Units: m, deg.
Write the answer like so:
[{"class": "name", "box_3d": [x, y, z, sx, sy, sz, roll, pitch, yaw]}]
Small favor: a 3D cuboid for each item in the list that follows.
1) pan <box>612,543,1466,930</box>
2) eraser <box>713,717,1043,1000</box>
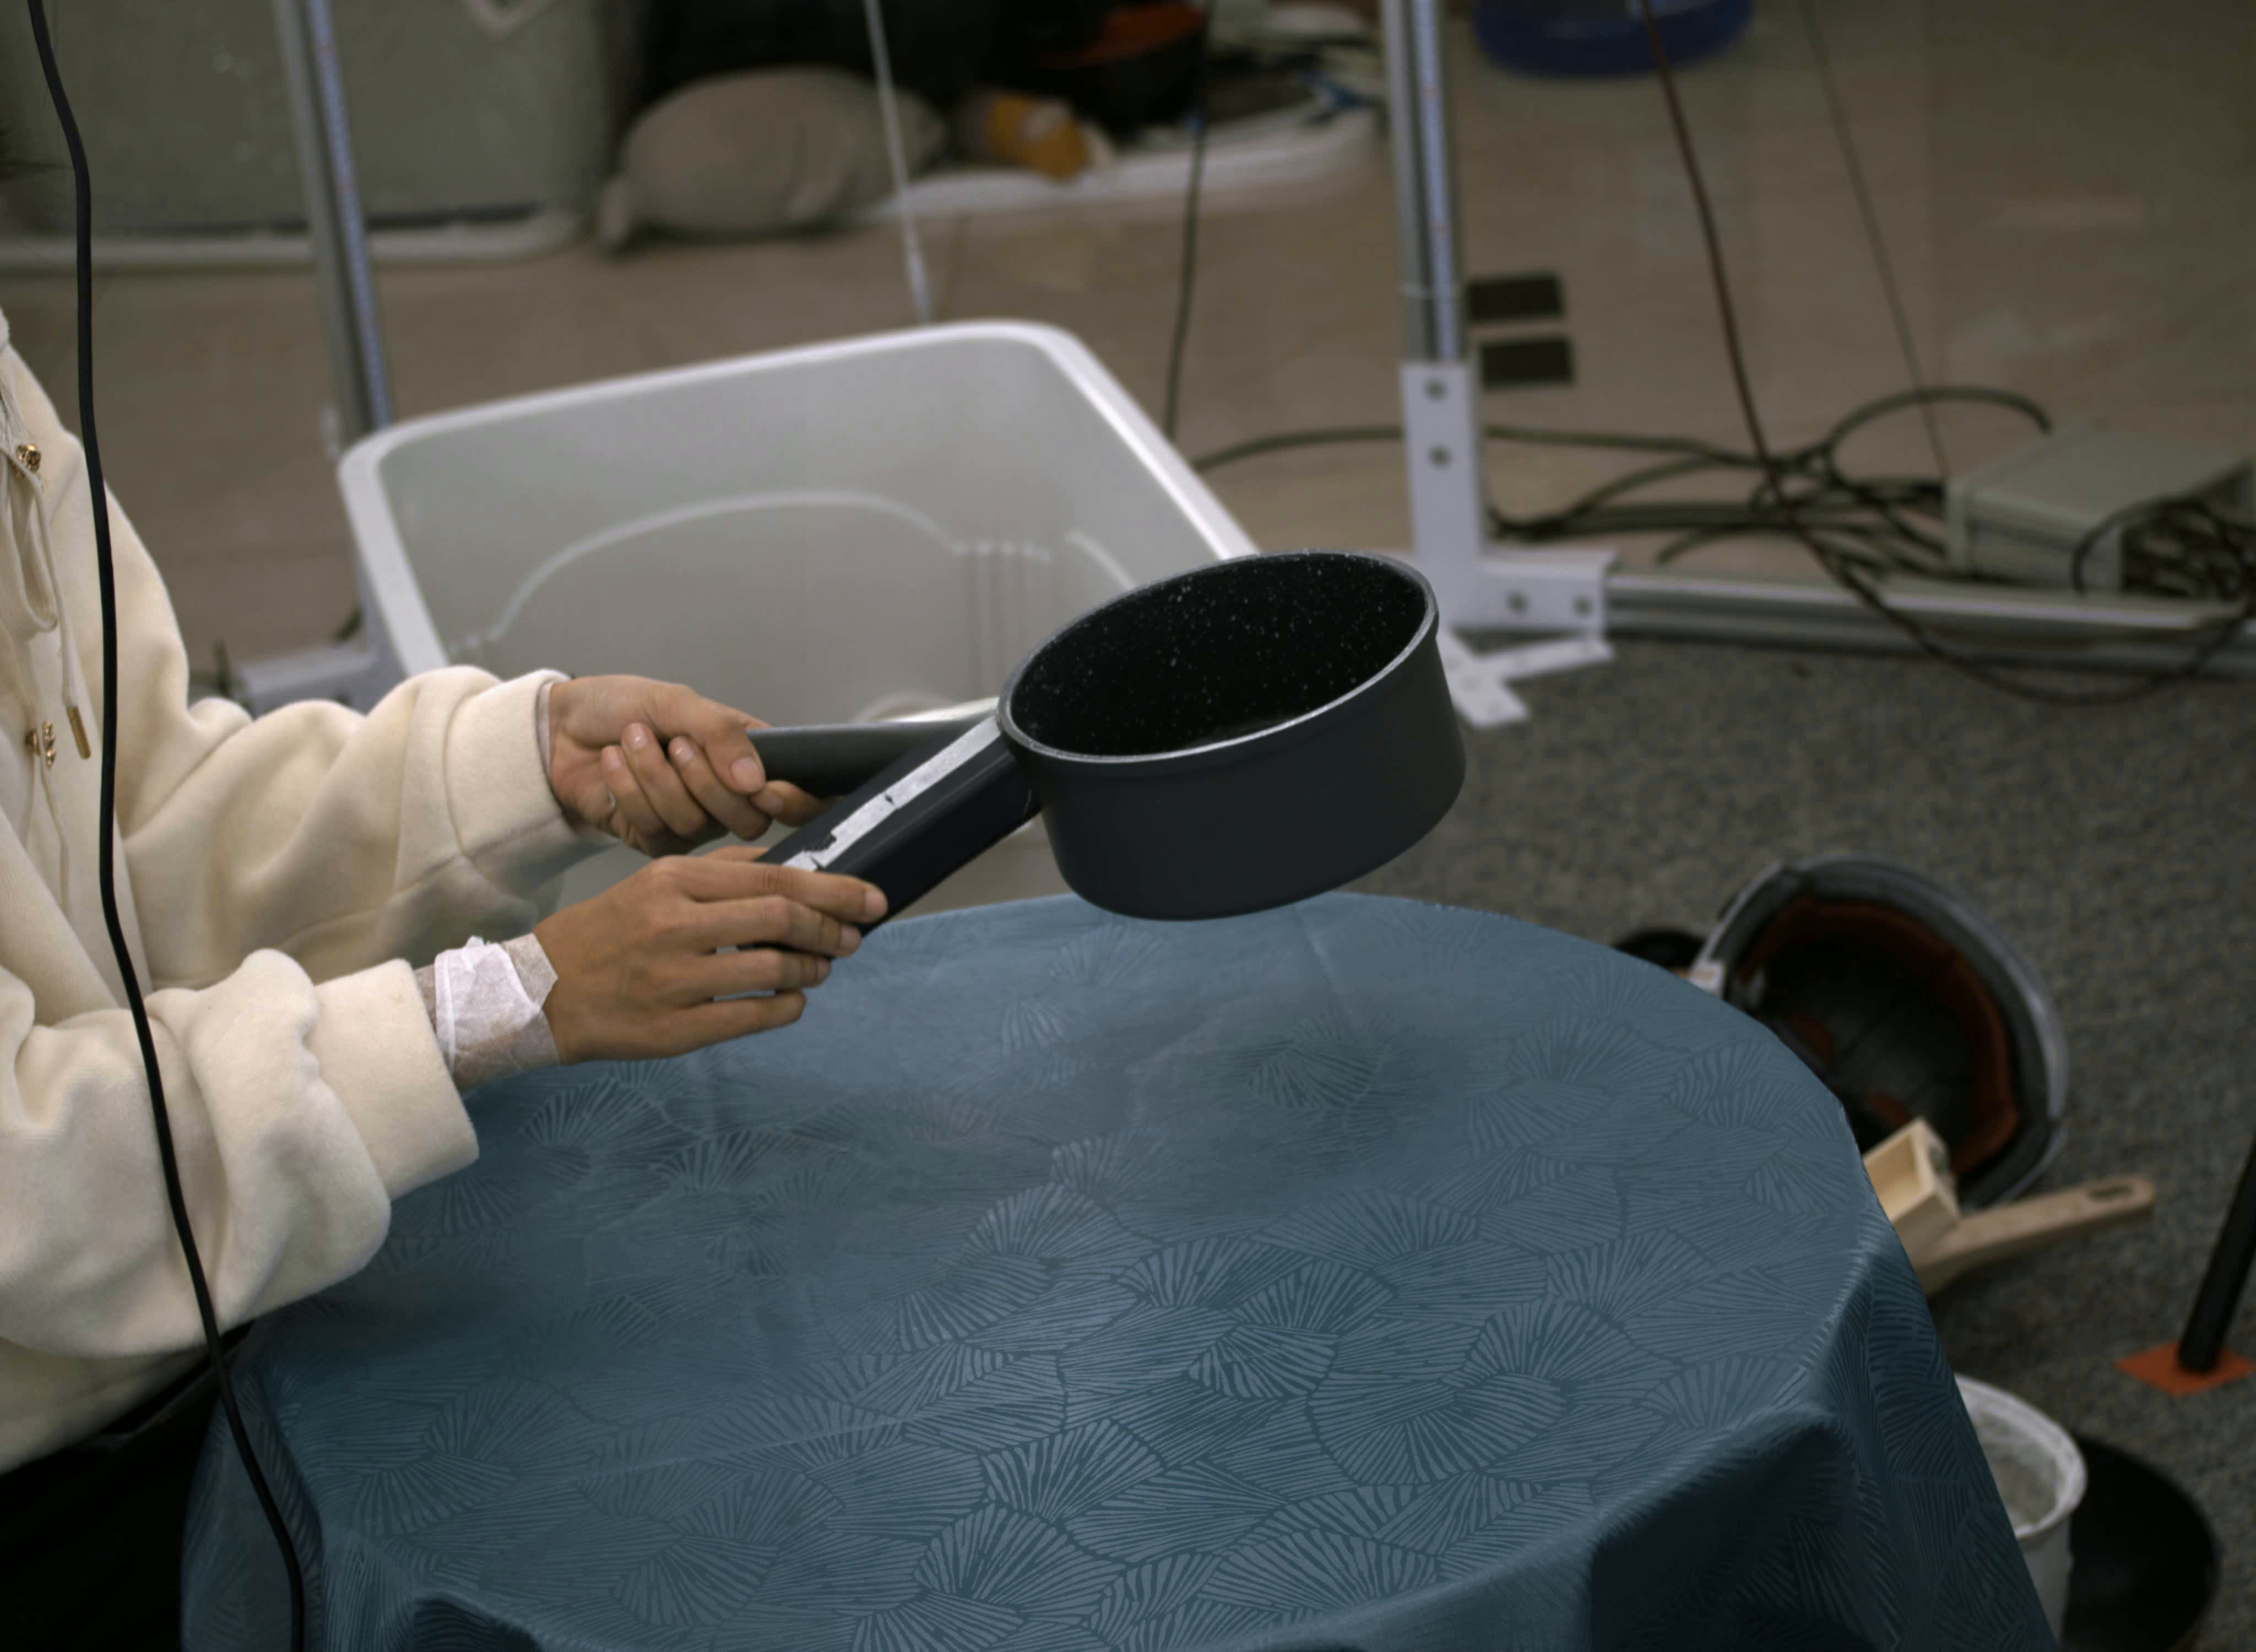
[{"class": "pan", "box_3d": [-0.034, -0.023, 2.178, 0.328, 0.088, 0.169, -8, 28, 13]}, {"class": "eraser", "box_3d": [-0.094, 0.011, 2.121, 0.125, 0.031, 0.053, -37, 33, -4]}]
